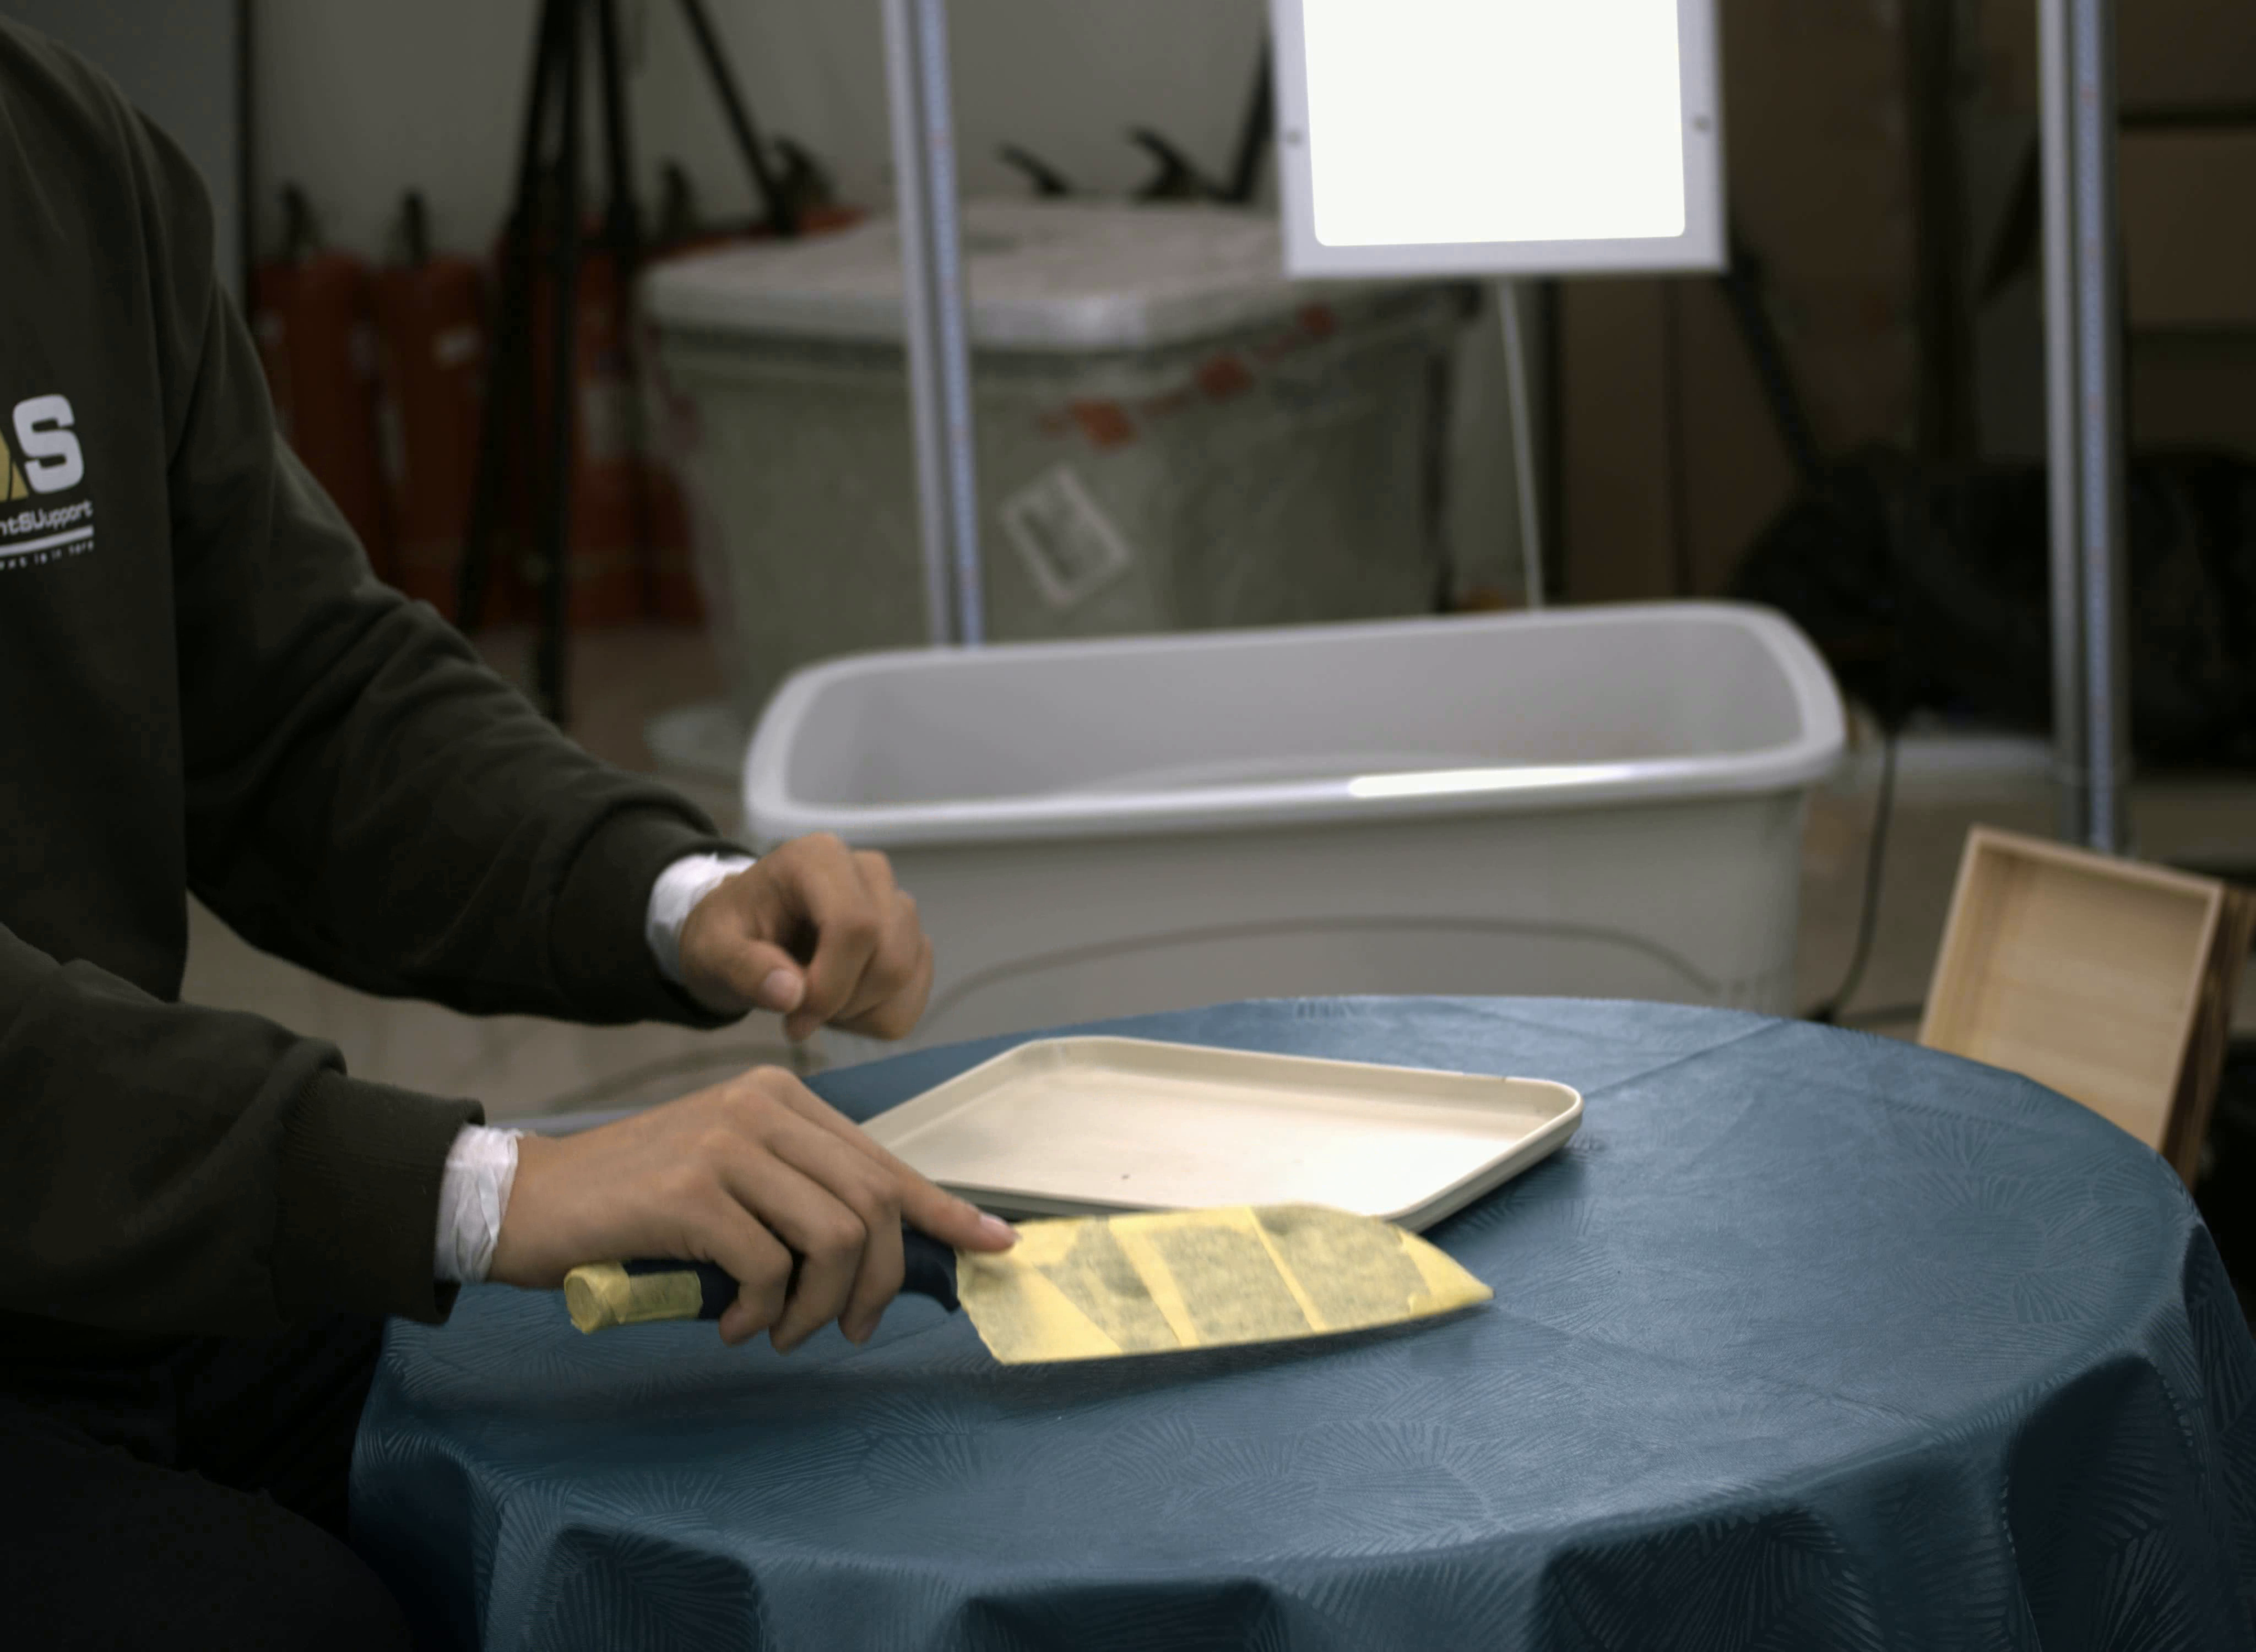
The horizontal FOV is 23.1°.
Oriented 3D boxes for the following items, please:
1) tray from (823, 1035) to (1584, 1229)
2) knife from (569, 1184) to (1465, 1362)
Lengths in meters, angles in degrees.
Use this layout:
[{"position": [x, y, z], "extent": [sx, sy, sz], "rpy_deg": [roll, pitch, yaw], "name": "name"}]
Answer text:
[{"position": [0.027, 0.111, 1.920], "extent": [0.244, 0.017, 0.167], "rpy_deg": [4, 17, 34], "name": "tray"}, {"position": [-0.030, 0.143, 1.724], "extent": [0.285, 0.027, 0.081], "rpy_deg": [-5, 30, -14], "name": "knife"}]
